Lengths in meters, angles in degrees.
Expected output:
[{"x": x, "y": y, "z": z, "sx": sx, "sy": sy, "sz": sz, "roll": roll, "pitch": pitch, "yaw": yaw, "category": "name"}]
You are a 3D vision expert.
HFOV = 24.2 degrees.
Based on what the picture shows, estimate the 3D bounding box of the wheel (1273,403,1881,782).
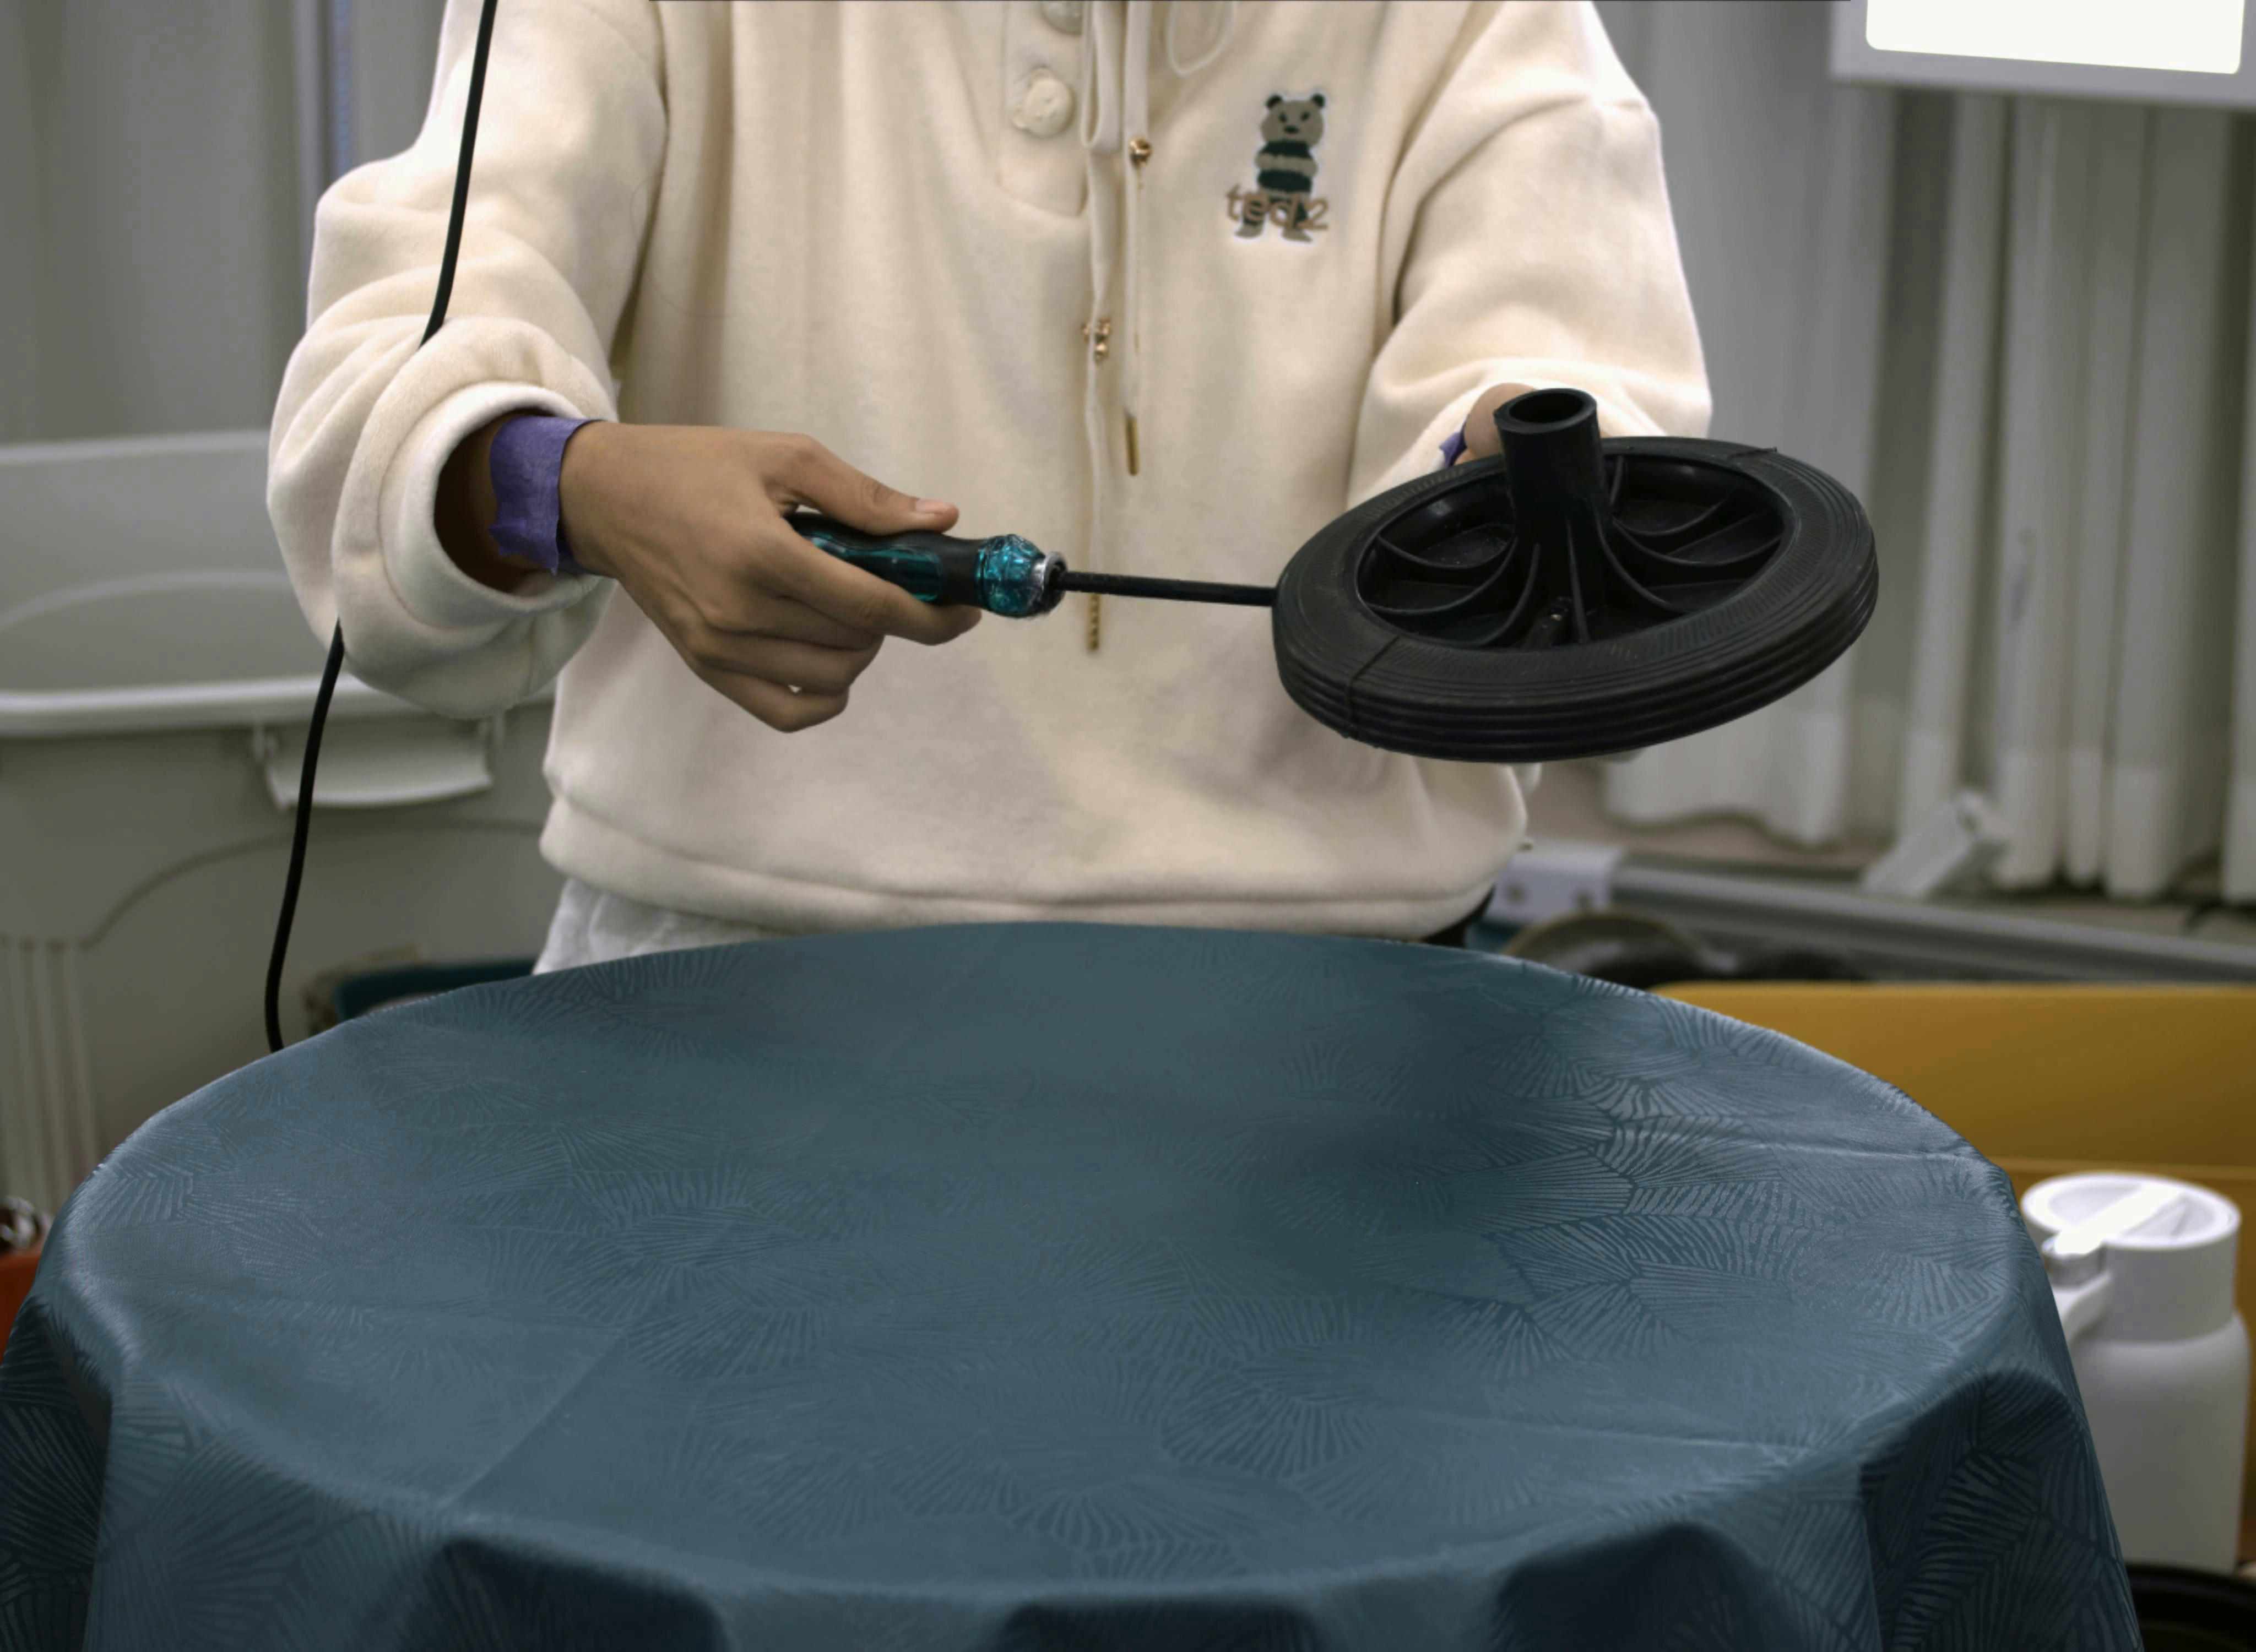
[{"x": 0.134, "y": -0.087, "z": 1.614, "sx": 0.187, "sy": 0.080, "sz": 0.188, "roll": -10, "pitch": 30, "yaw": 0, "category": "wheel"}]

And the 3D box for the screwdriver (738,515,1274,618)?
[{"x": -0.039, "y": -0.079, "z": 1.679, "sx": 0.188, "sy": 0.034, "sz": 0.034, "roll": 6, "pitch": 17, "yaw": 25, "category": "screwdriver"}]
